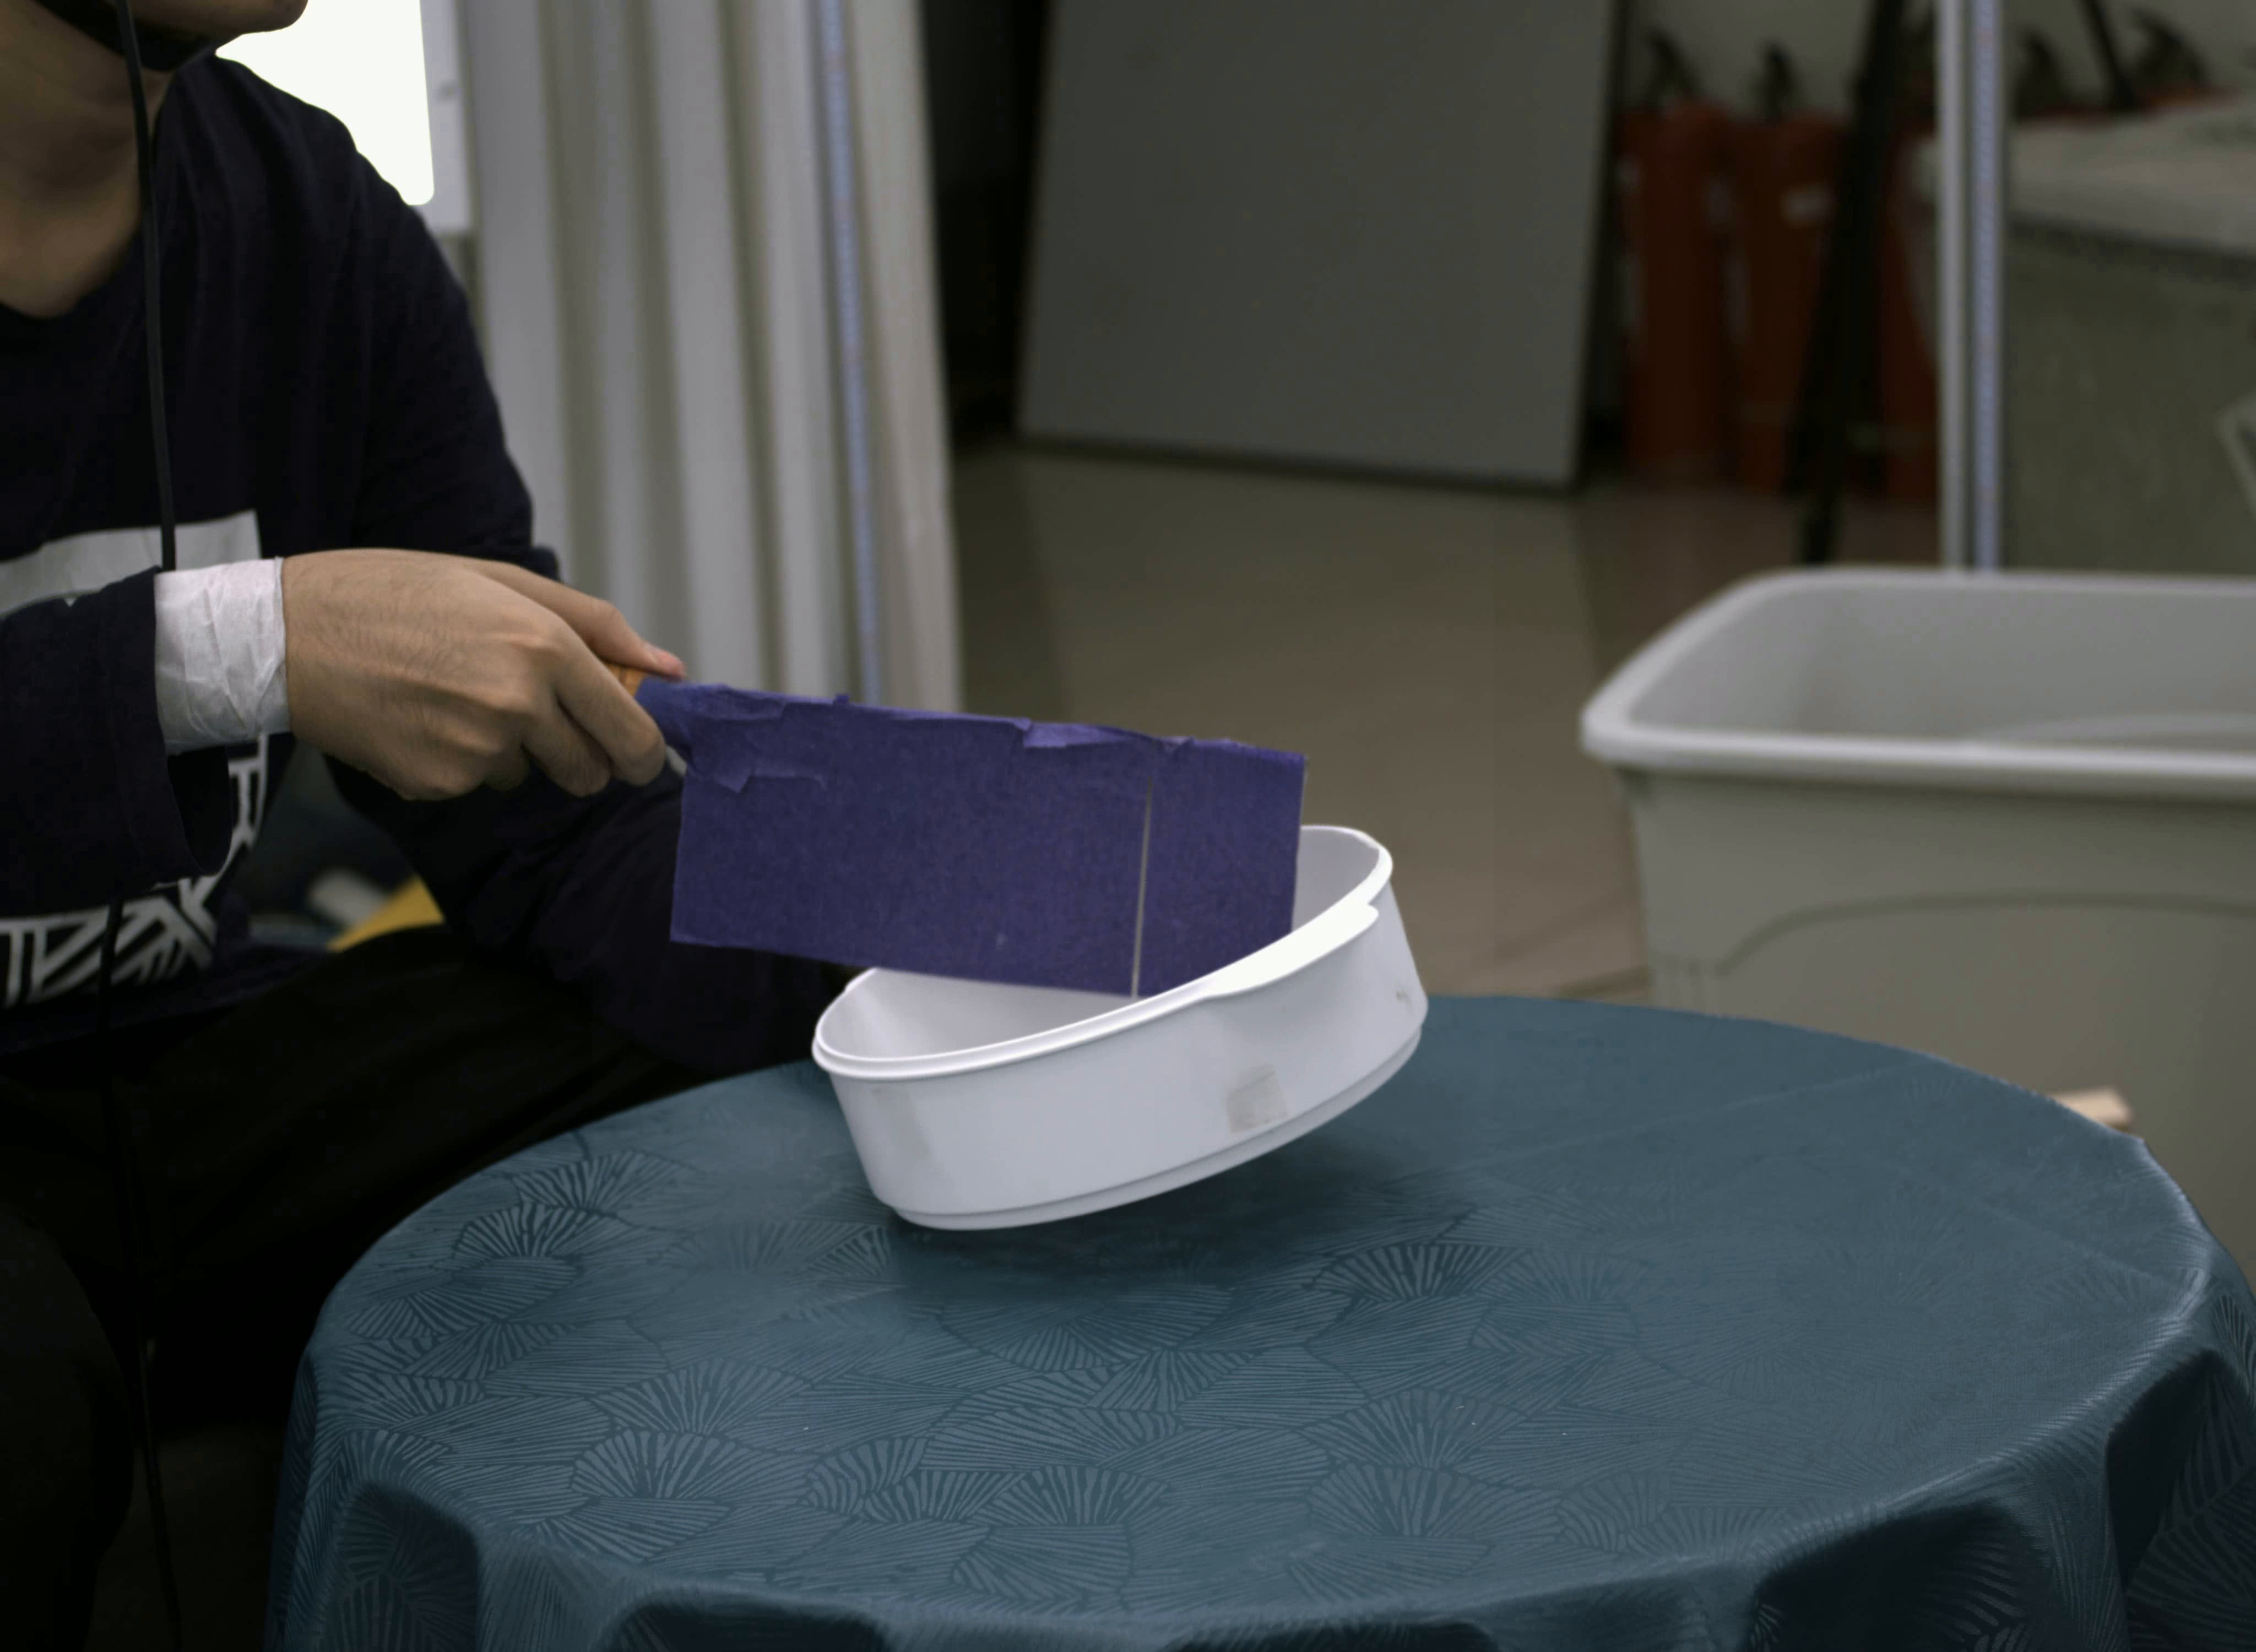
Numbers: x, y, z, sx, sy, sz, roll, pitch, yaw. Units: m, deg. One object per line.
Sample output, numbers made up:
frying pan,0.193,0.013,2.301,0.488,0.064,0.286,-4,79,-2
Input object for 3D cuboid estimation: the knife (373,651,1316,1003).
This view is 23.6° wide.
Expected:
knife,-0.095,0.002,1.779,0.312,0.105,0.032,6,11,4

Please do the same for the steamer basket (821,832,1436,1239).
steamer basket,0.003,0.069,1.754,0.198,0.070,0.233,-26,11,-35
